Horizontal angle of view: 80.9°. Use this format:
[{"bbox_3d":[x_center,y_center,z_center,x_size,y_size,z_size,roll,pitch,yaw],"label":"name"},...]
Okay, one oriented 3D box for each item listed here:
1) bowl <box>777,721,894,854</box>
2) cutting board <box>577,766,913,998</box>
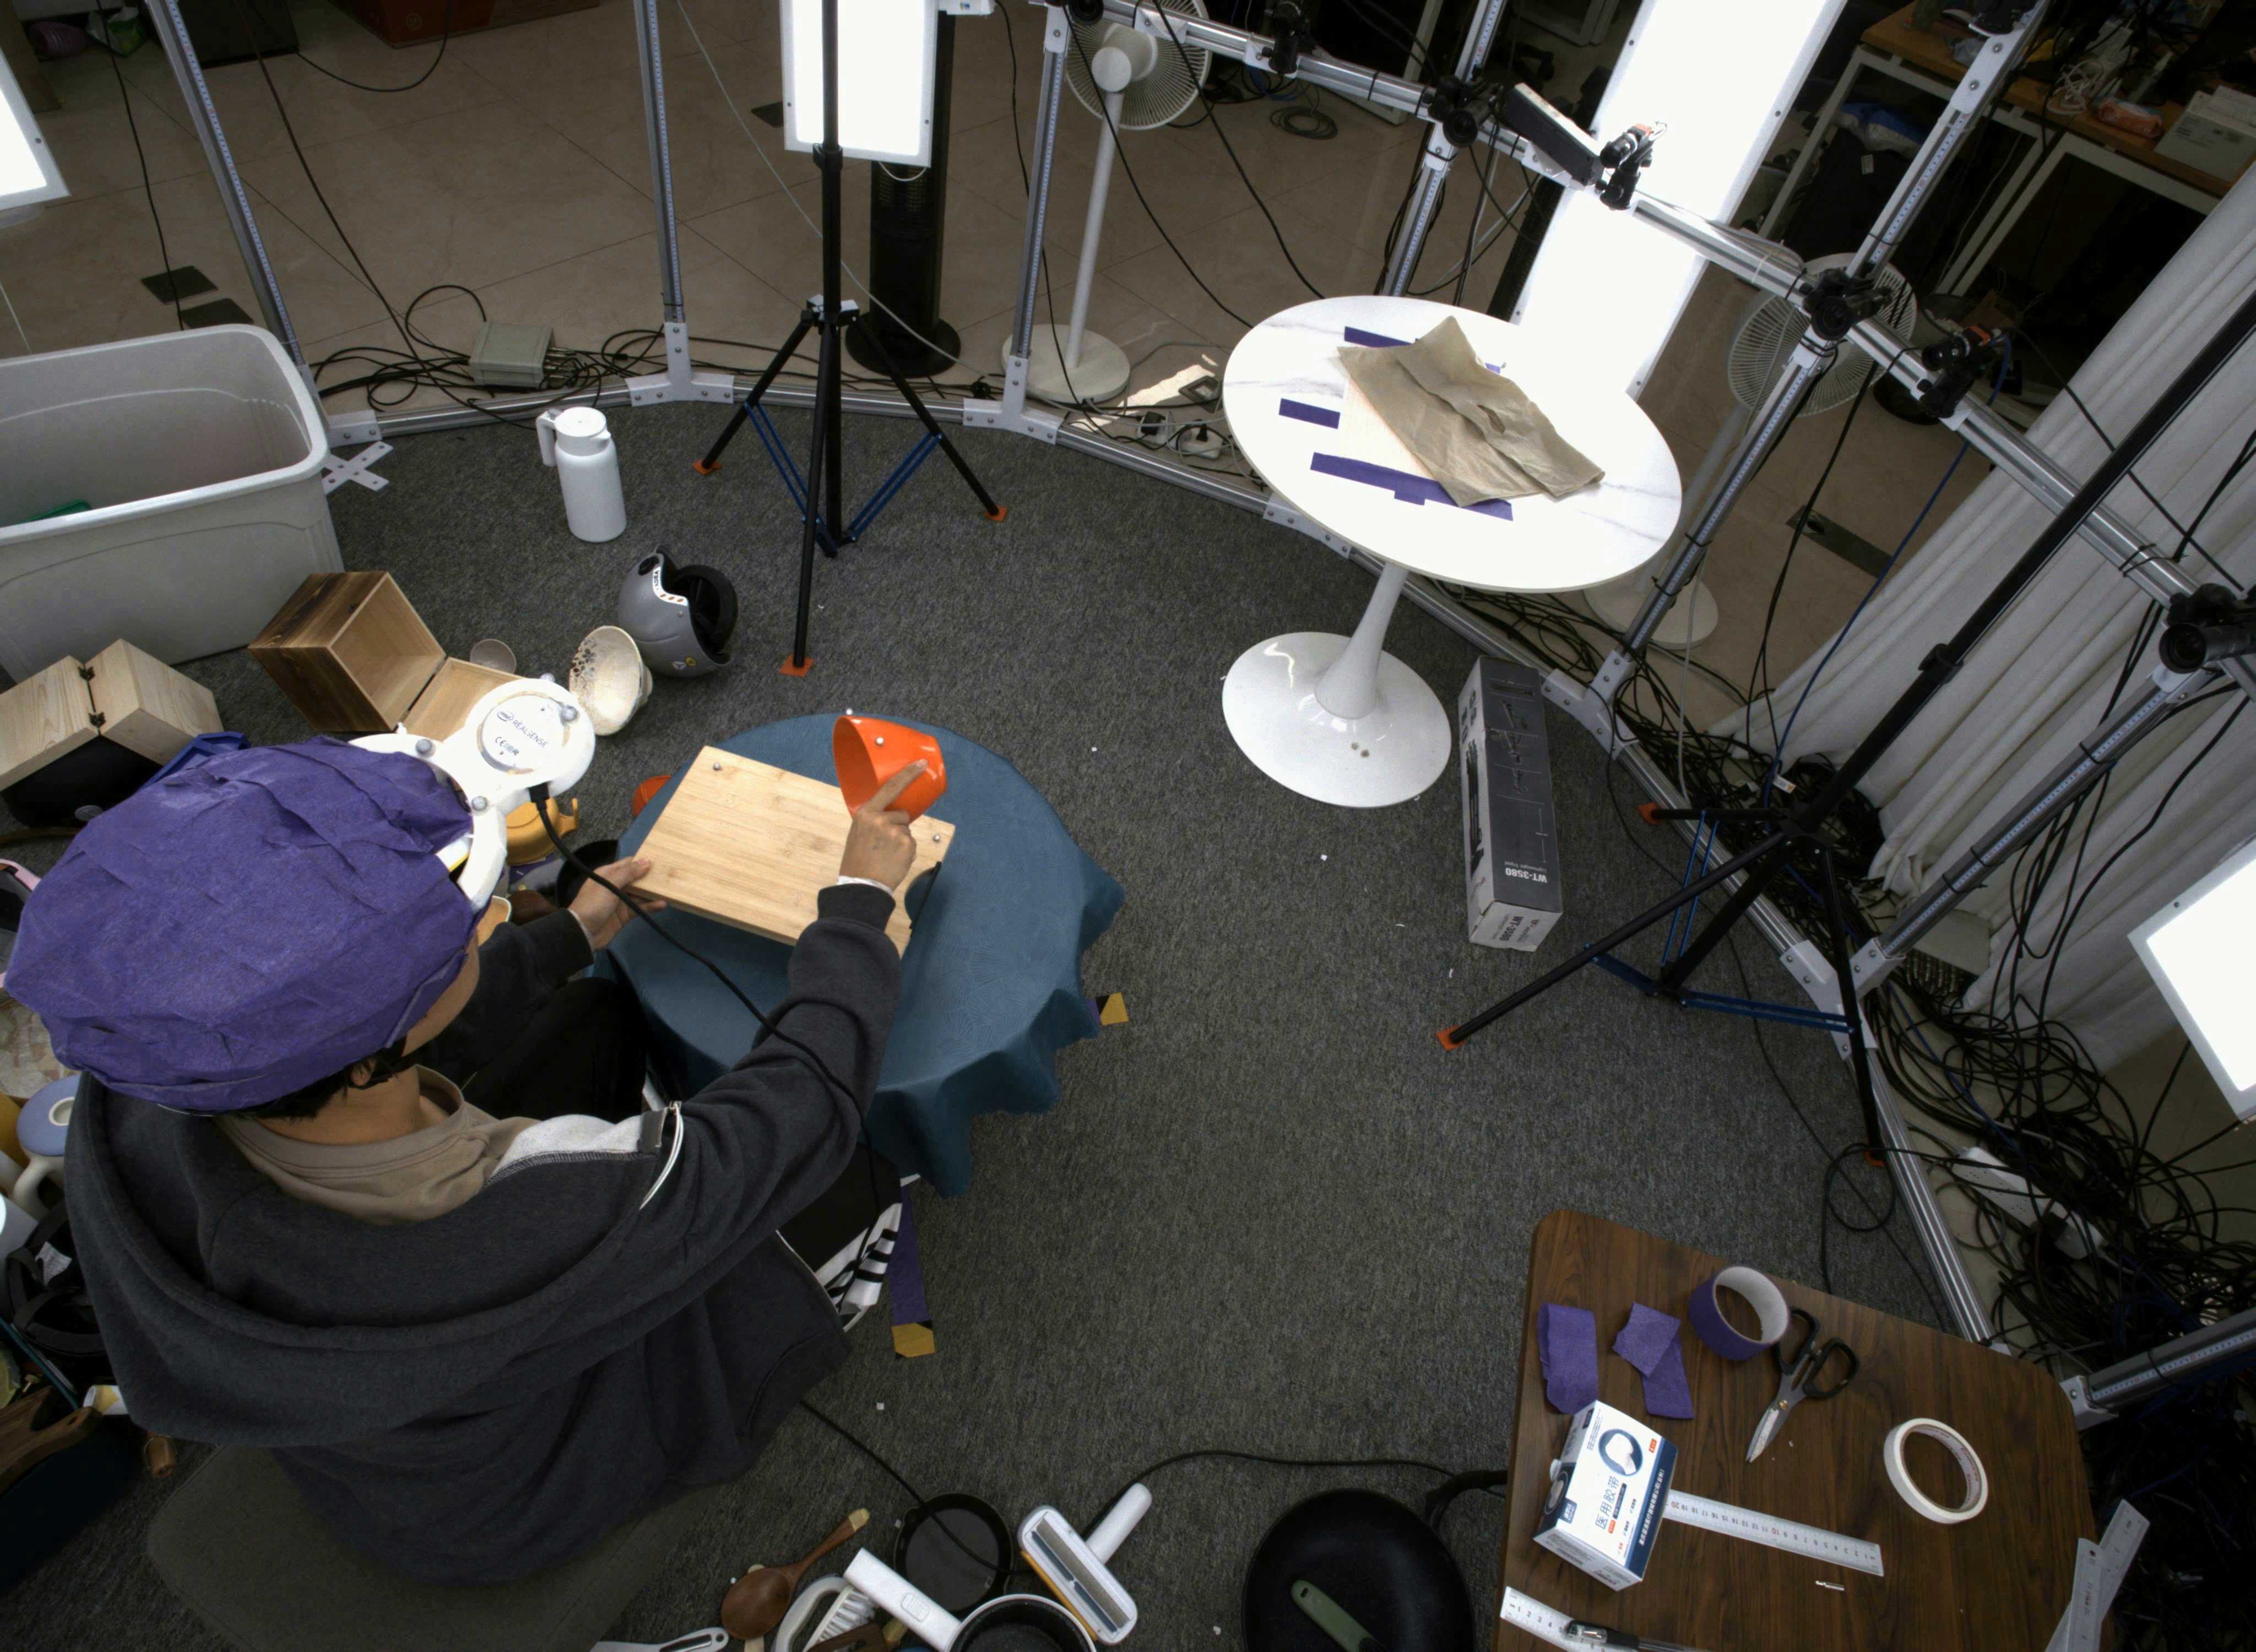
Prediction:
[{"bbox_3d":[-0.321,-0.052,1.439,0.105,0.151,0.144,-15,57,-20],"label":"bowl"},{"bbox_3d":[-0.458,0.060,1.563,0.347,0.024,0.247,15,49,-6],"label":"cutting board"}]
